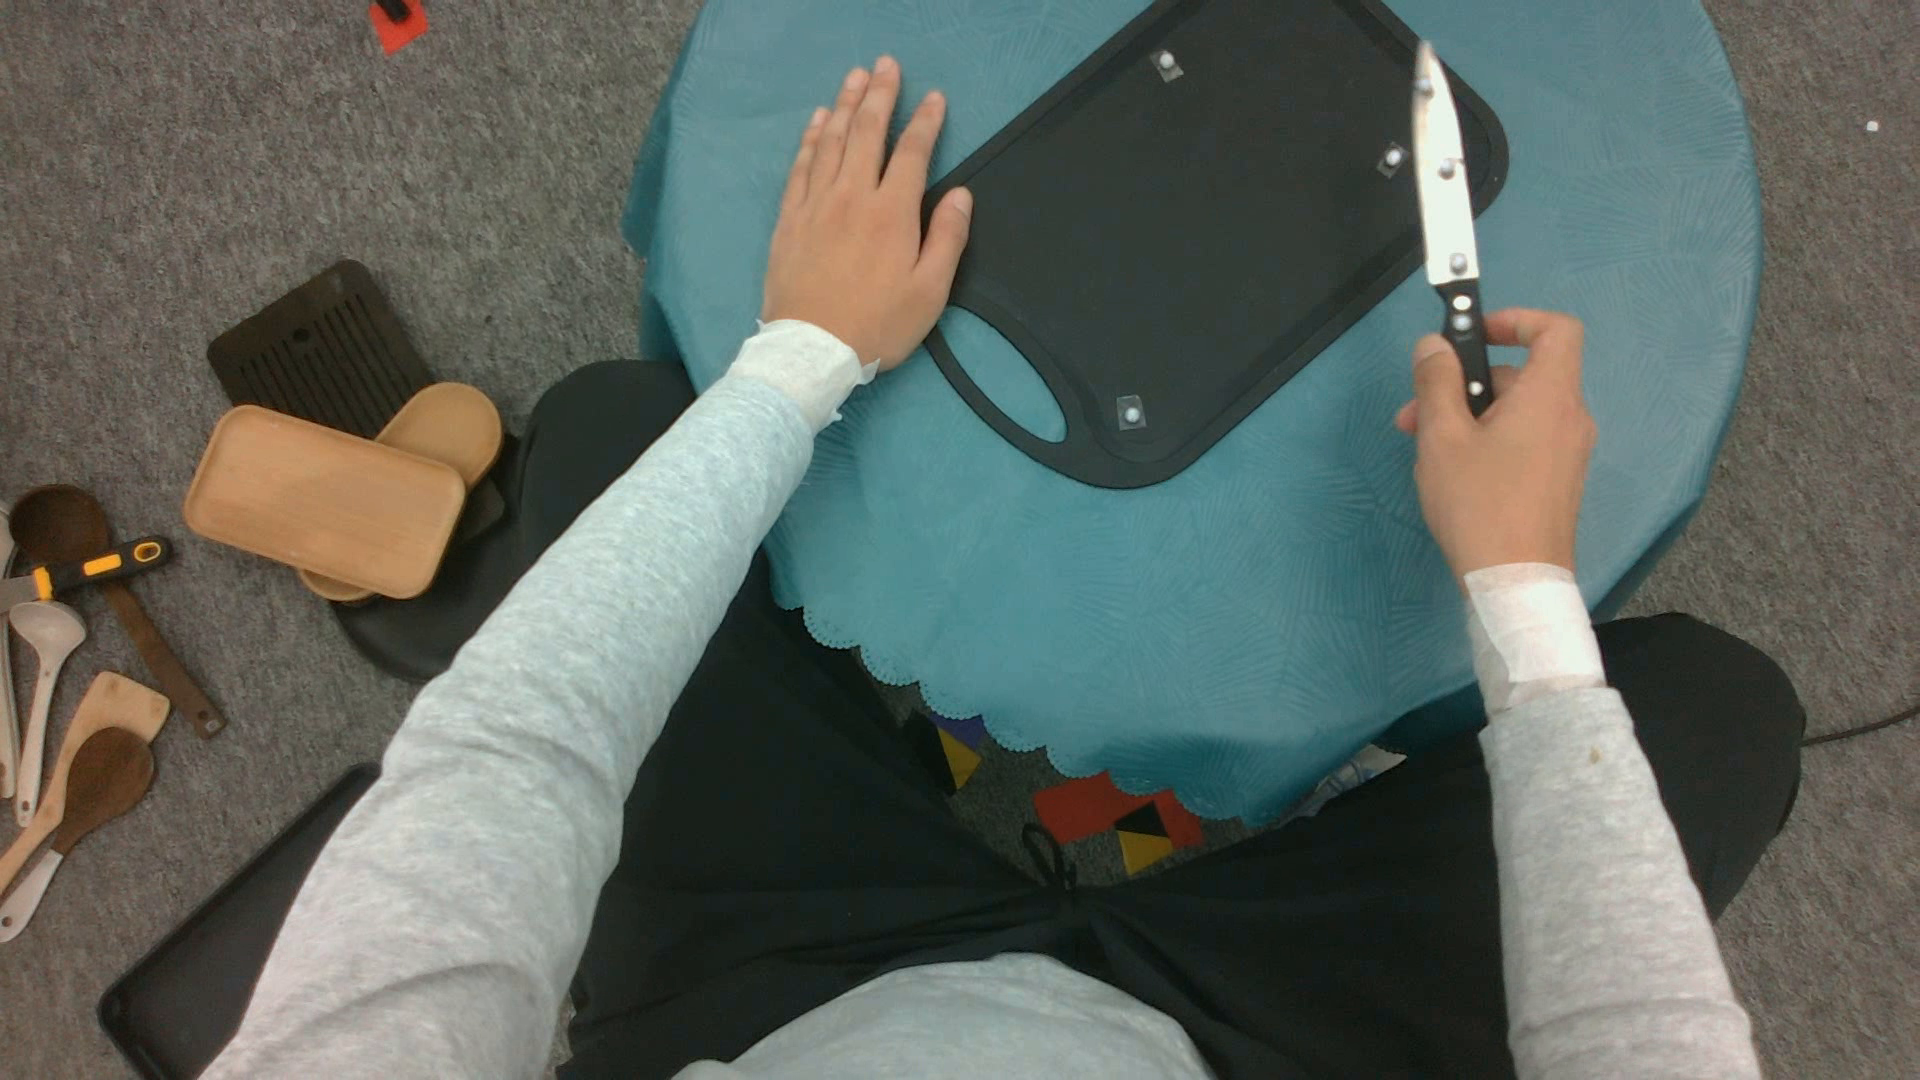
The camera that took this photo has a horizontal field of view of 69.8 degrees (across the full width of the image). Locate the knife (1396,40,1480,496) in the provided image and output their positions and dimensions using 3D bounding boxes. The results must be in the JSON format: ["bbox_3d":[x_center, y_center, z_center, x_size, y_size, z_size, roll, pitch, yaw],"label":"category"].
[{"bbox_3d":[0.236,-0.139,0.681,0.024,0.016,0.238,-6,79,17],"label":"knife"}]

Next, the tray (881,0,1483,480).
[{"bbox_3d":[0.117,-0.183,0.751,0.326,0.010,0.211,-40,81,-6],"label":"tray"}]
